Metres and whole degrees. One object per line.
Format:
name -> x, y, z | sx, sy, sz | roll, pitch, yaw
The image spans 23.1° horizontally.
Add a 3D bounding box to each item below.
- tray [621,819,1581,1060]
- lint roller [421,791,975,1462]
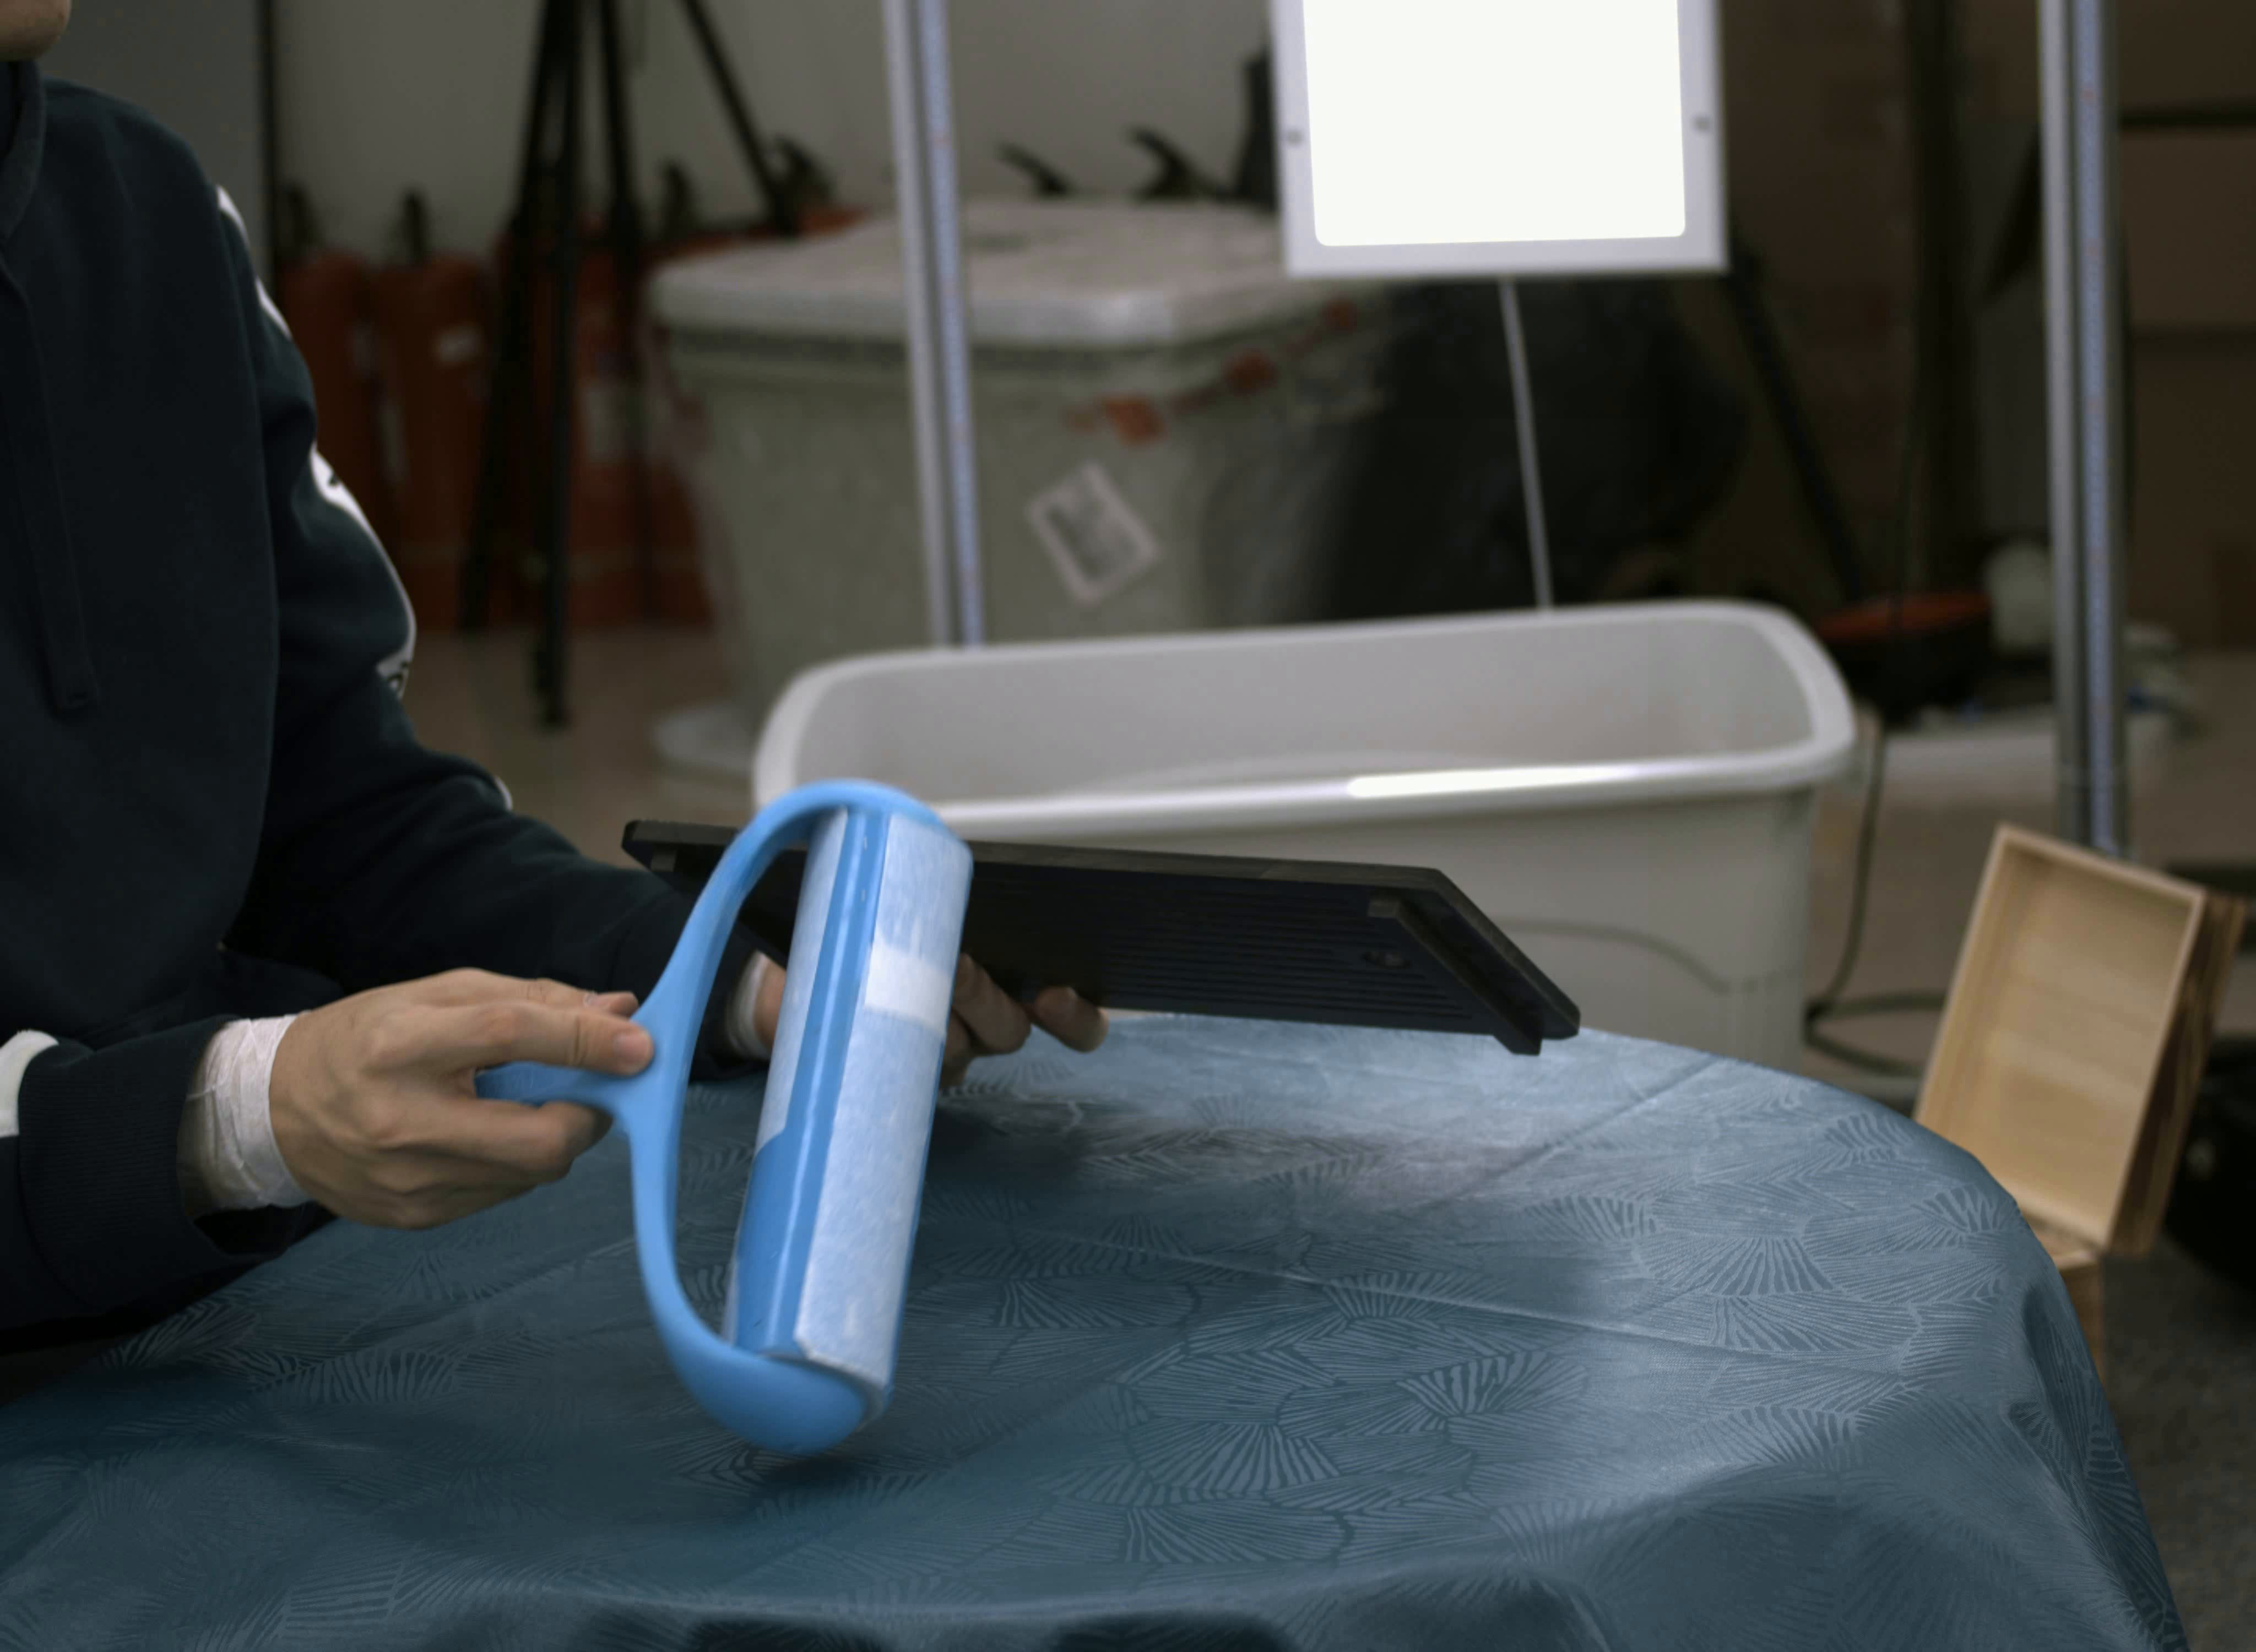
tray -> -0.010, 0.040, 1.893 | 0.311, 0.018, 0.168 | 3, -18, 26
lint roller -> -0.144, 0.093, 1.710 | 0.182, 0.067, 0.228 | -4, 57, 16
